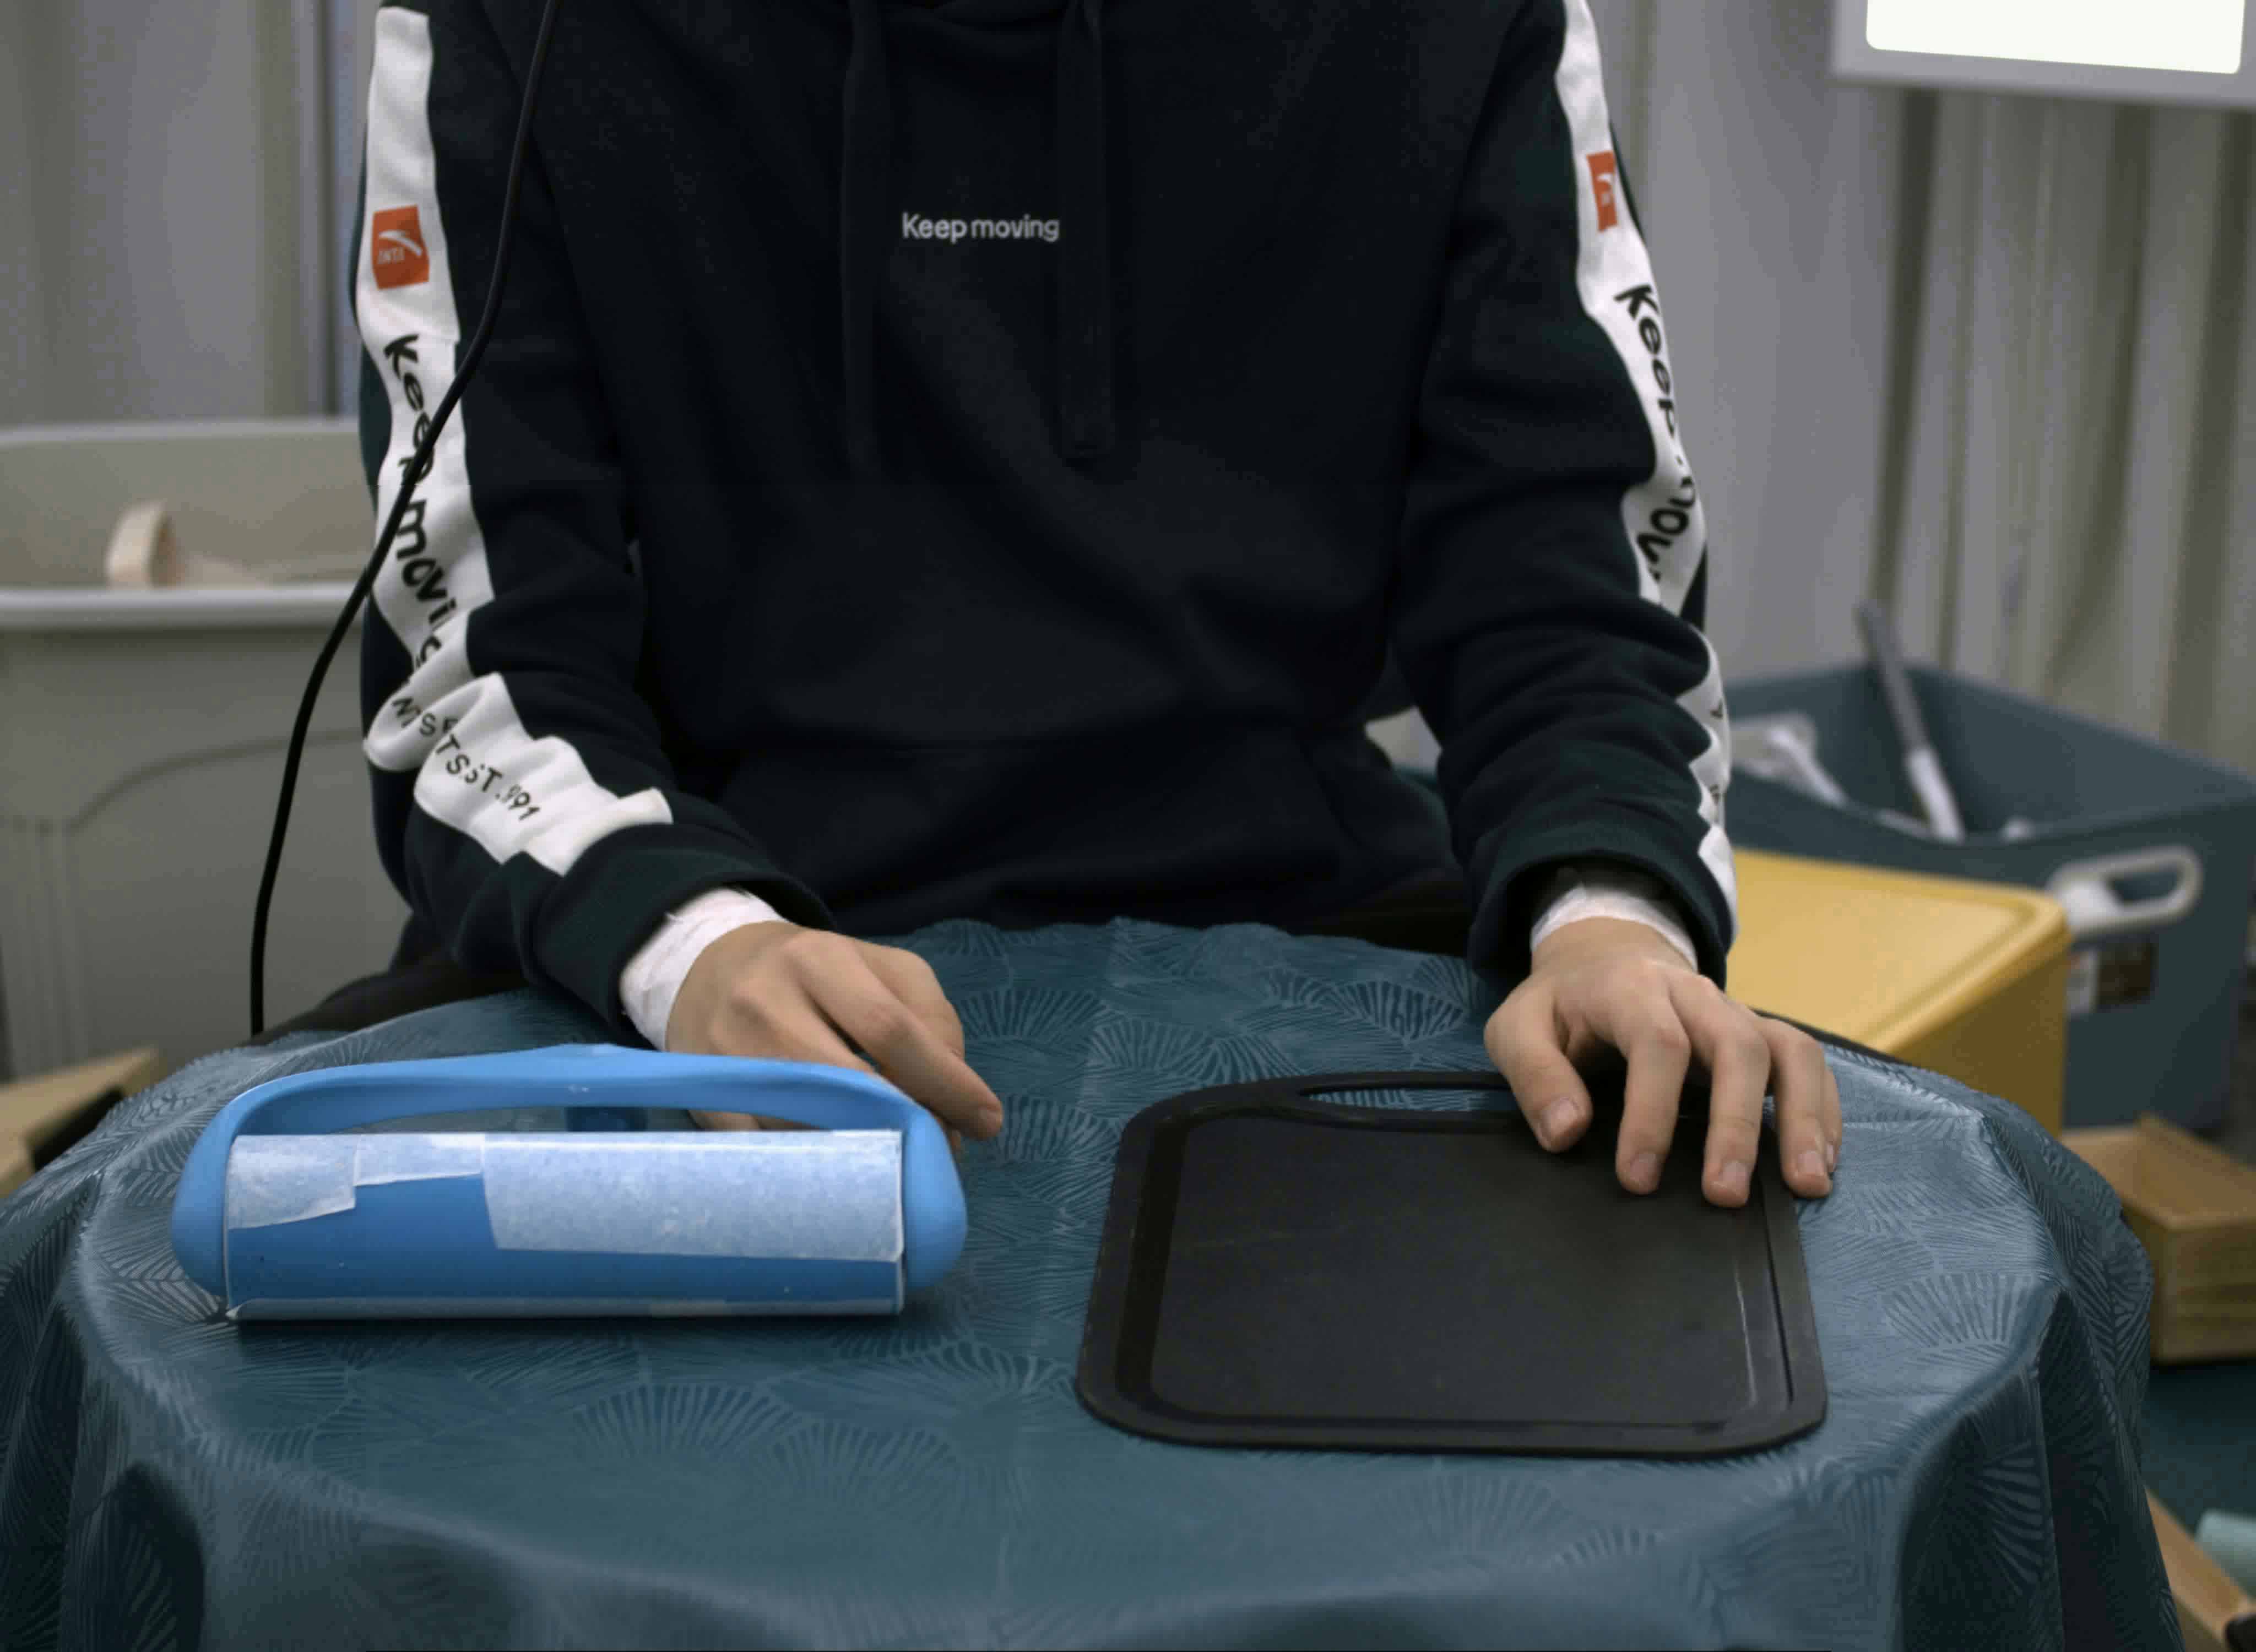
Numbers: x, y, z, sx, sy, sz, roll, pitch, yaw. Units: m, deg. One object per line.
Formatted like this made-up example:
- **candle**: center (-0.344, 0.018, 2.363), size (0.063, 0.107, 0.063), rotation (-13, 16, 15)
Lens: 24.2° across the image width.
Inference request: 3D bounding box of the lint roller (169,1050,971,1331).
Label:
- **lint roller**: center (-0.163, 0.097, 1.562), size (0.228, 0.068, 0.179), rotation (-3, 17, -4)

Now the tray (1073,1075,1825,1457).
- **tray**: center (0.096, 0.123, 1.570), size (0.210, 0.010, 0.324), rotation (2, 15, 3)
